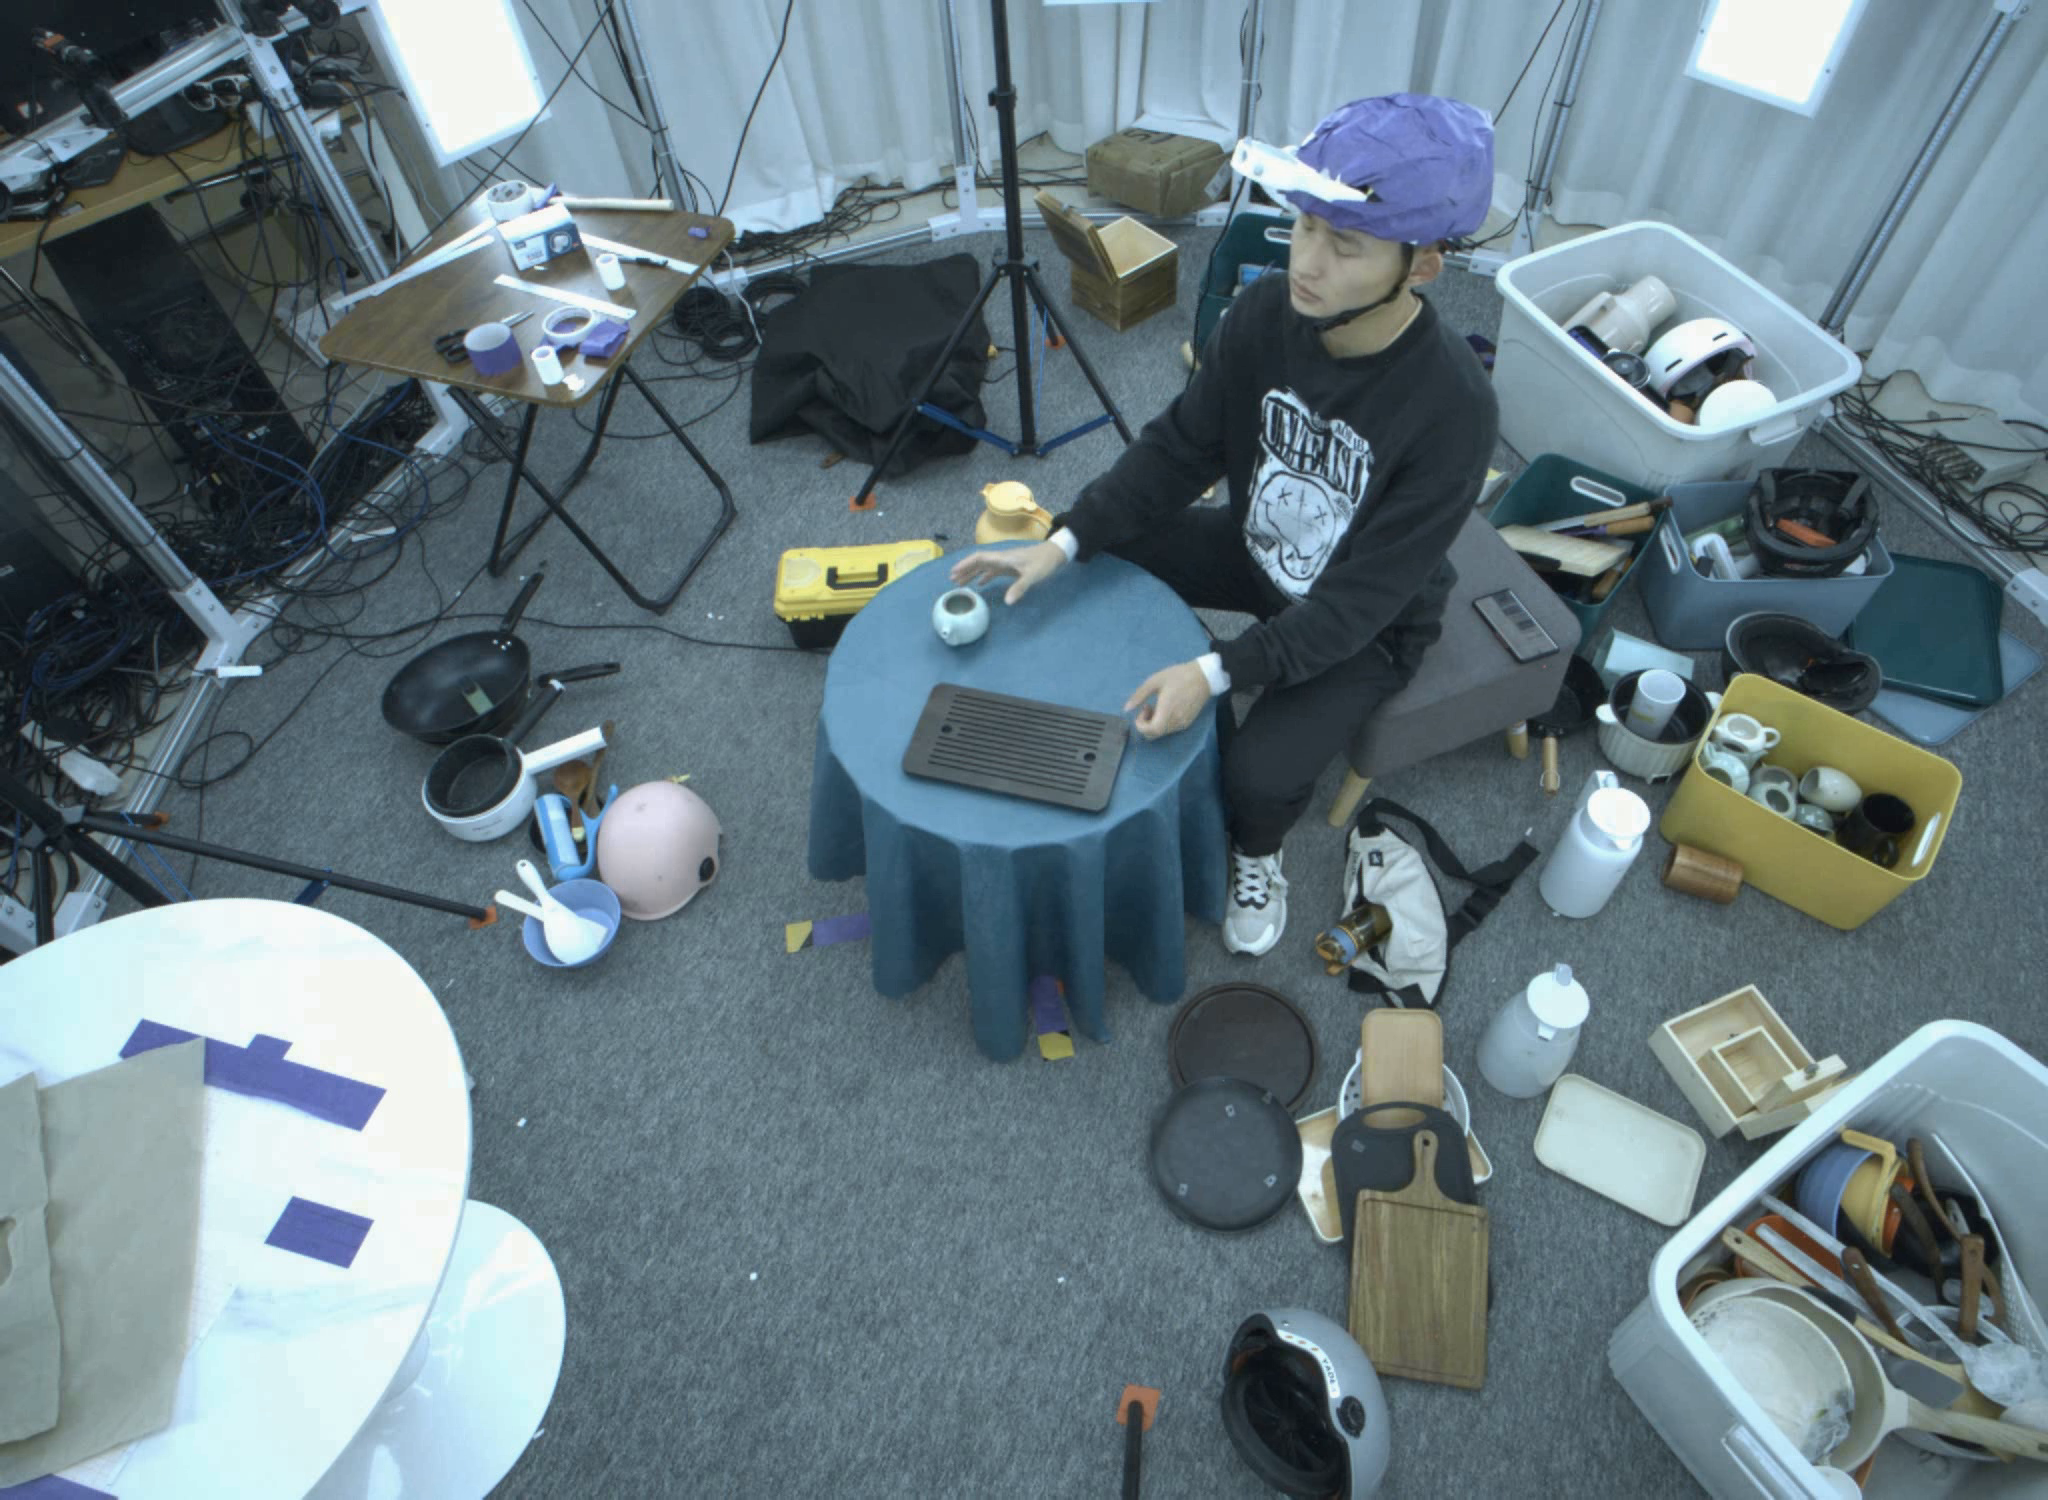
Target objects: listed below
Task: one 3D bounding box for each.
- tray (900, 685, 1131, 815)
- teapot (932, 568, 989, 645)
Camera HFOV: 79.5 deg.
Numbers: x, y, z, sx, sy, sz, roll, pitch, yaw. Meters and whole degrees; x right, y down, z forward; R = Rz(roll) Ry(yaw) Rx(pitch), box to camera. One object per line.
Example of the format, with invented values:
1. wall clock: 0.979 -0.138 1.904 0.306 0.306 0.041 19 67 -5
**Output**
1. tray: -0.011 -0.001 1.774 0.303 0.019 0.169 12 55 10
2. teapot: -0.099 -0.207 1.889 0.087 0.075 0.143 13 57 12
